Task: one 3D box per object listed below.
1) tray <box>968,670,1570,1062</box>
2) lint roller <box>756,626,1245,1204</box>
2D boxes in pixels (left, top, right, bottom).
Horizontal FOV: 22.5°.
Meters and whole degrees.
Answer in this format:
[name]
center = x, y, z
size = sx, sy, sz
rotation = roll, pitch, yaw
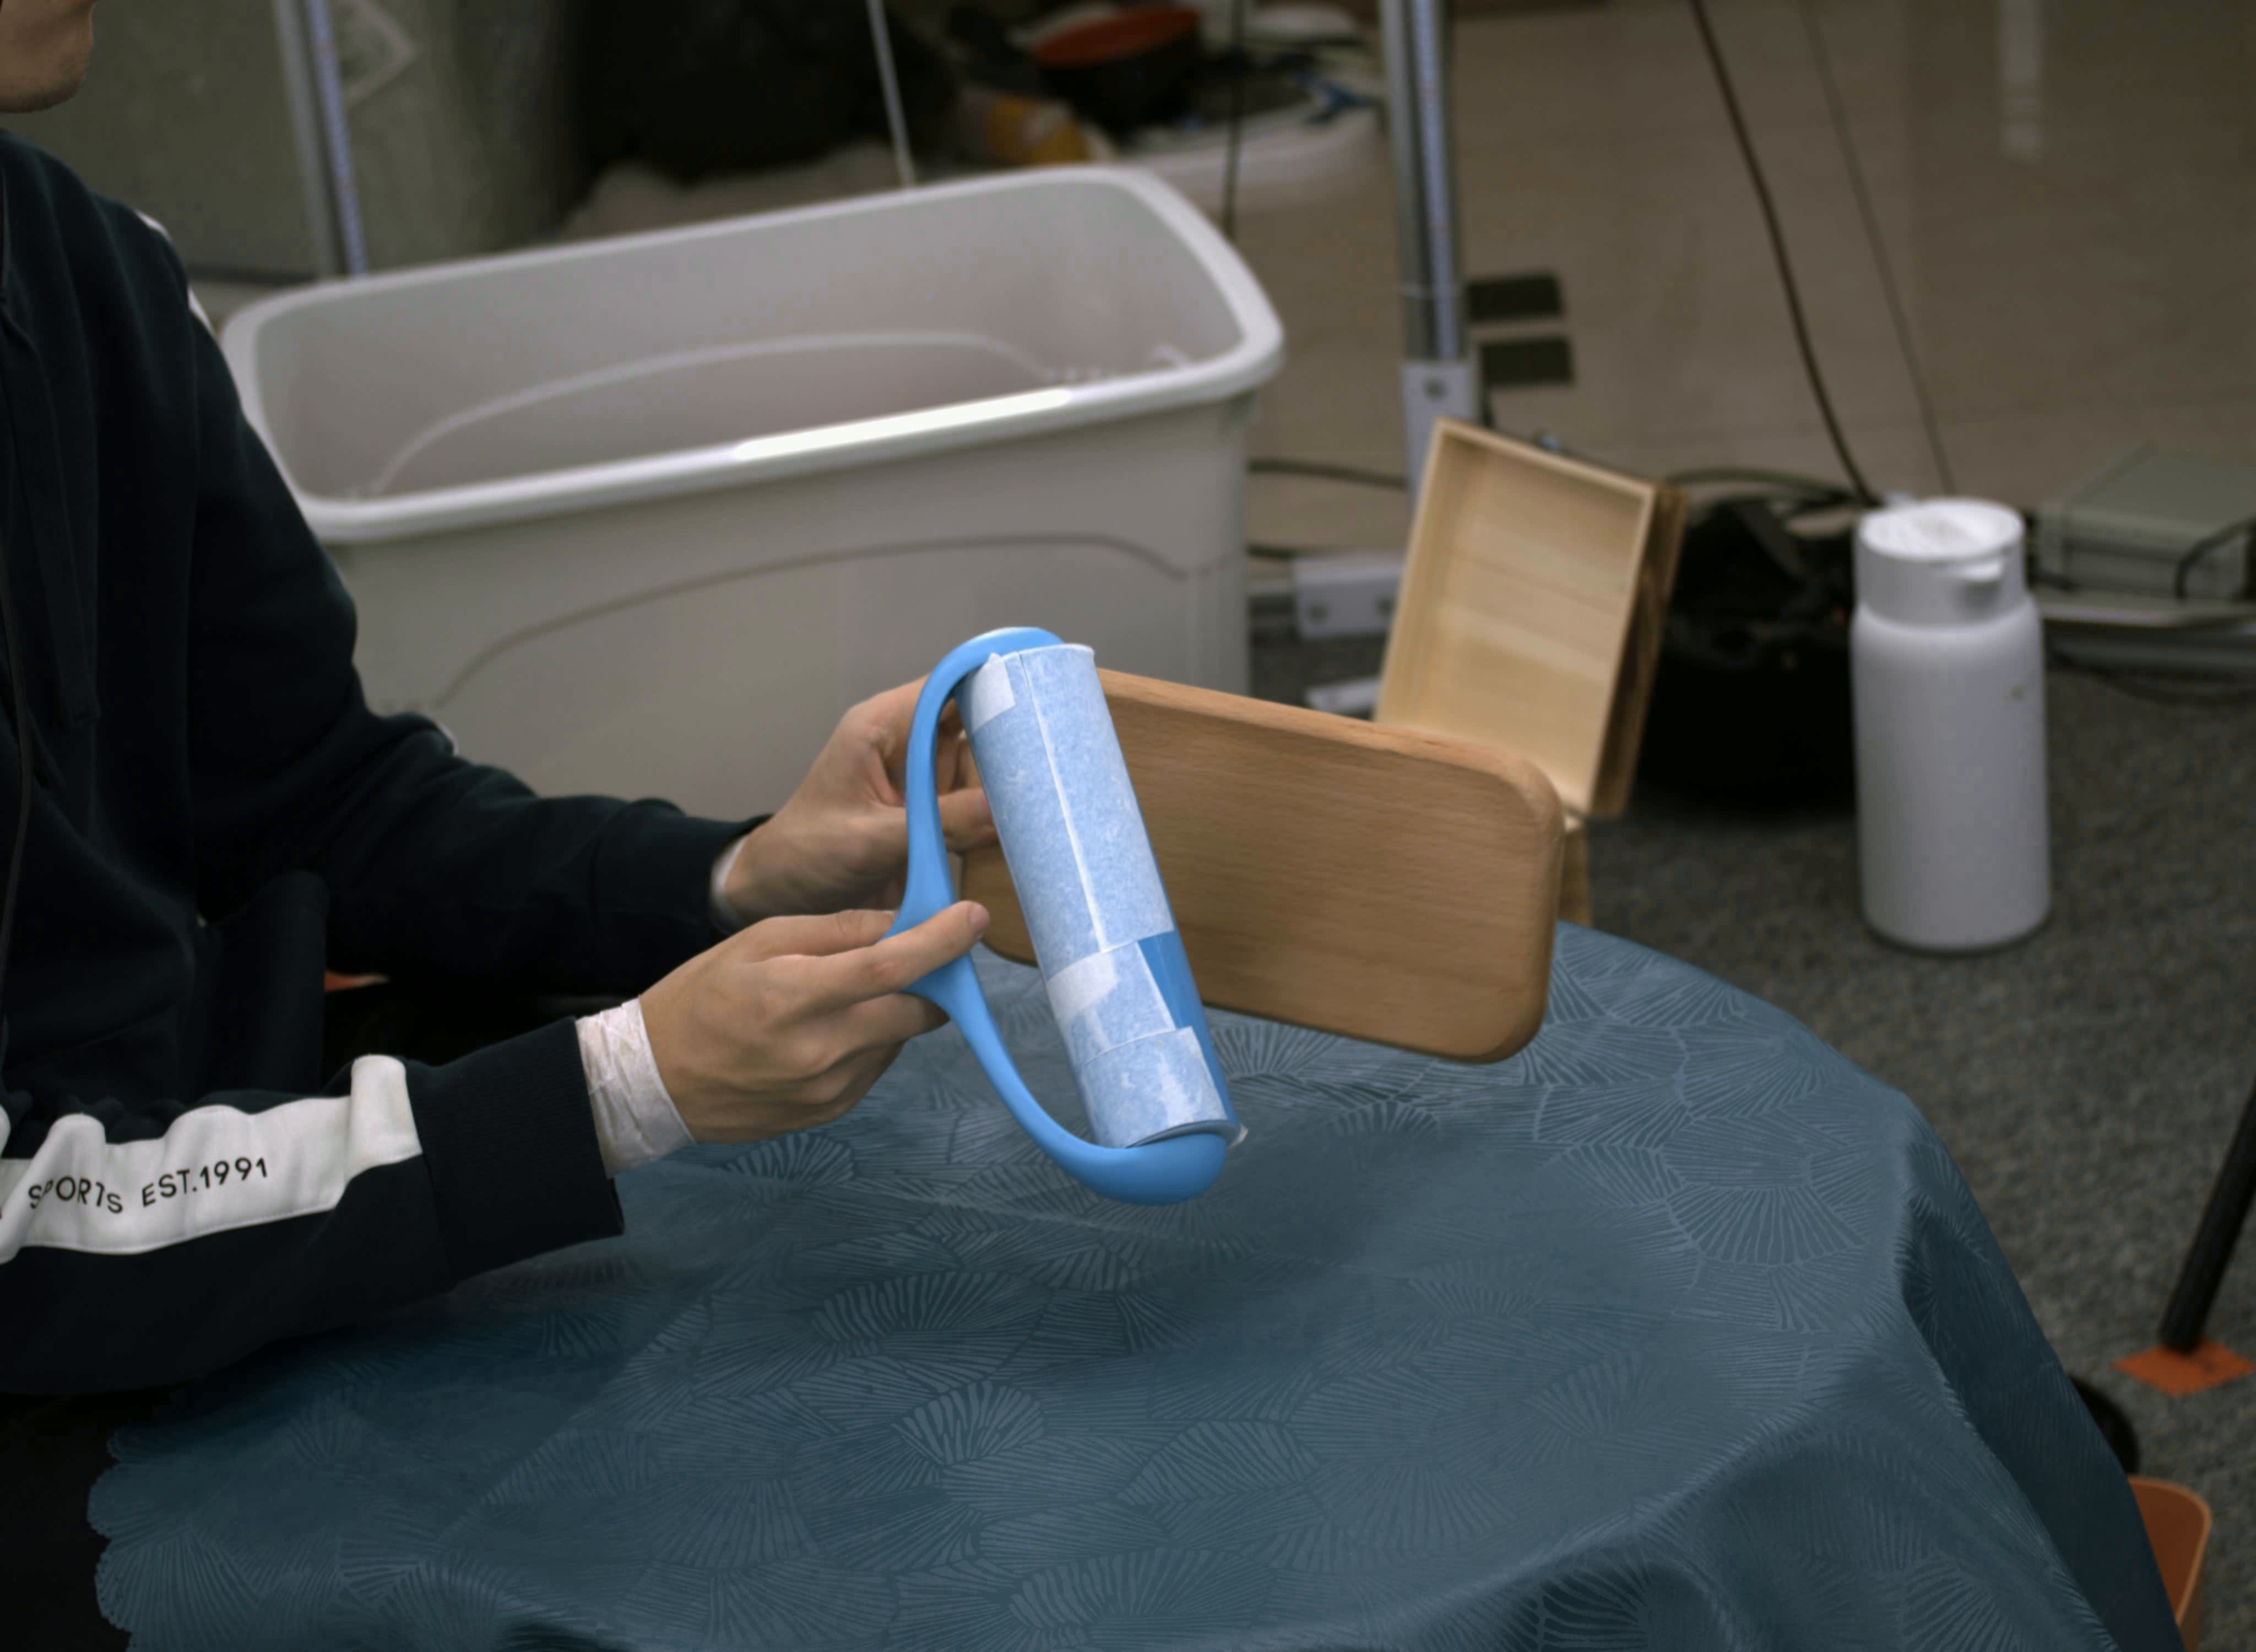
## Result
[tray]
center = 0.050, 0.014, 2.197
size = 0.249, 0.132, 0.022
rotation = 10, 19, 22
[lint roller]
center = -0.064, 0.054, 2.084
size = 0.180, 0.227, 0.068
rotation = -24, -17, 12
